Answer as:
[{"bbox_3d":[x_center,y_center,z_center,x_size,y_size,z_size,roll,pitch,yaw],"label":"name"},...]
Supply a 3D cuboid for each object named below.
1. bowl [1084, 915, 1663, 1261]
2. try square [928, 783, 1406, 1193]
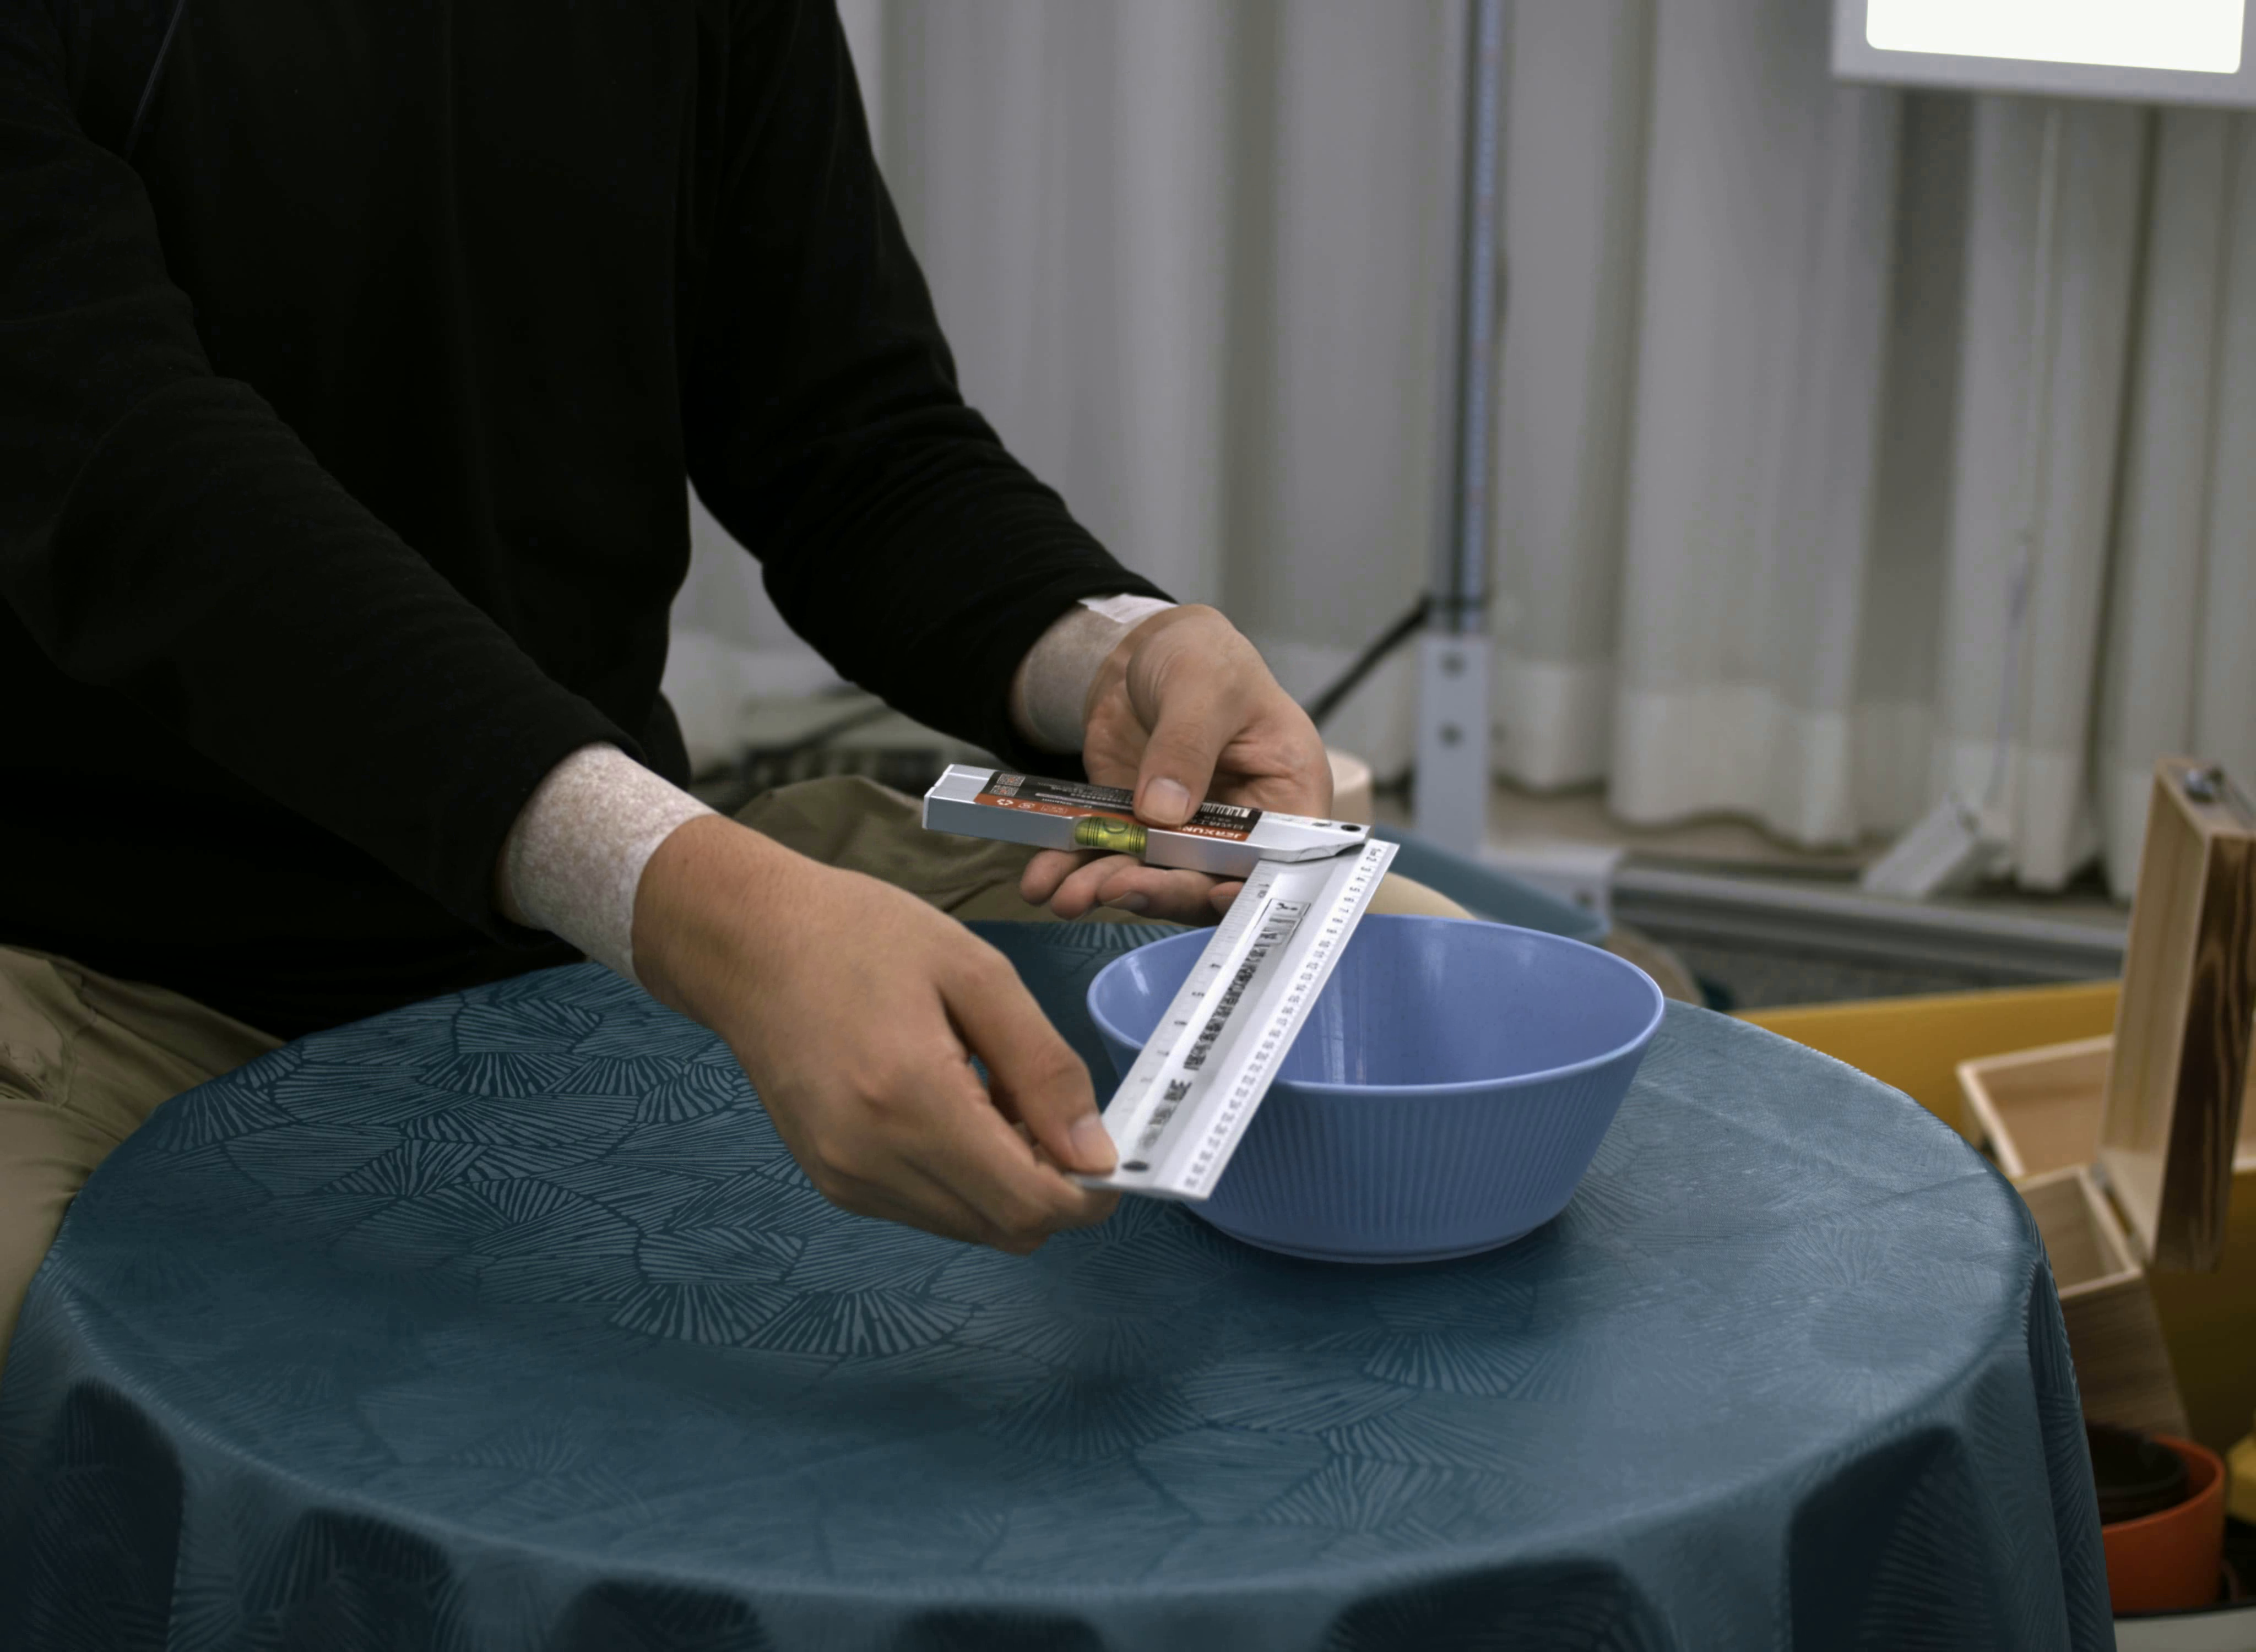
[{"bbox_3d":[0.074,0.082,1.602,0.175,0.071,0.175,1,16,0],"label":"bowl"},{"bbox_3d":[-0.016,0.044,1.568,0.151,0.016,0.312,6,19,11],"label":"try square"}]
